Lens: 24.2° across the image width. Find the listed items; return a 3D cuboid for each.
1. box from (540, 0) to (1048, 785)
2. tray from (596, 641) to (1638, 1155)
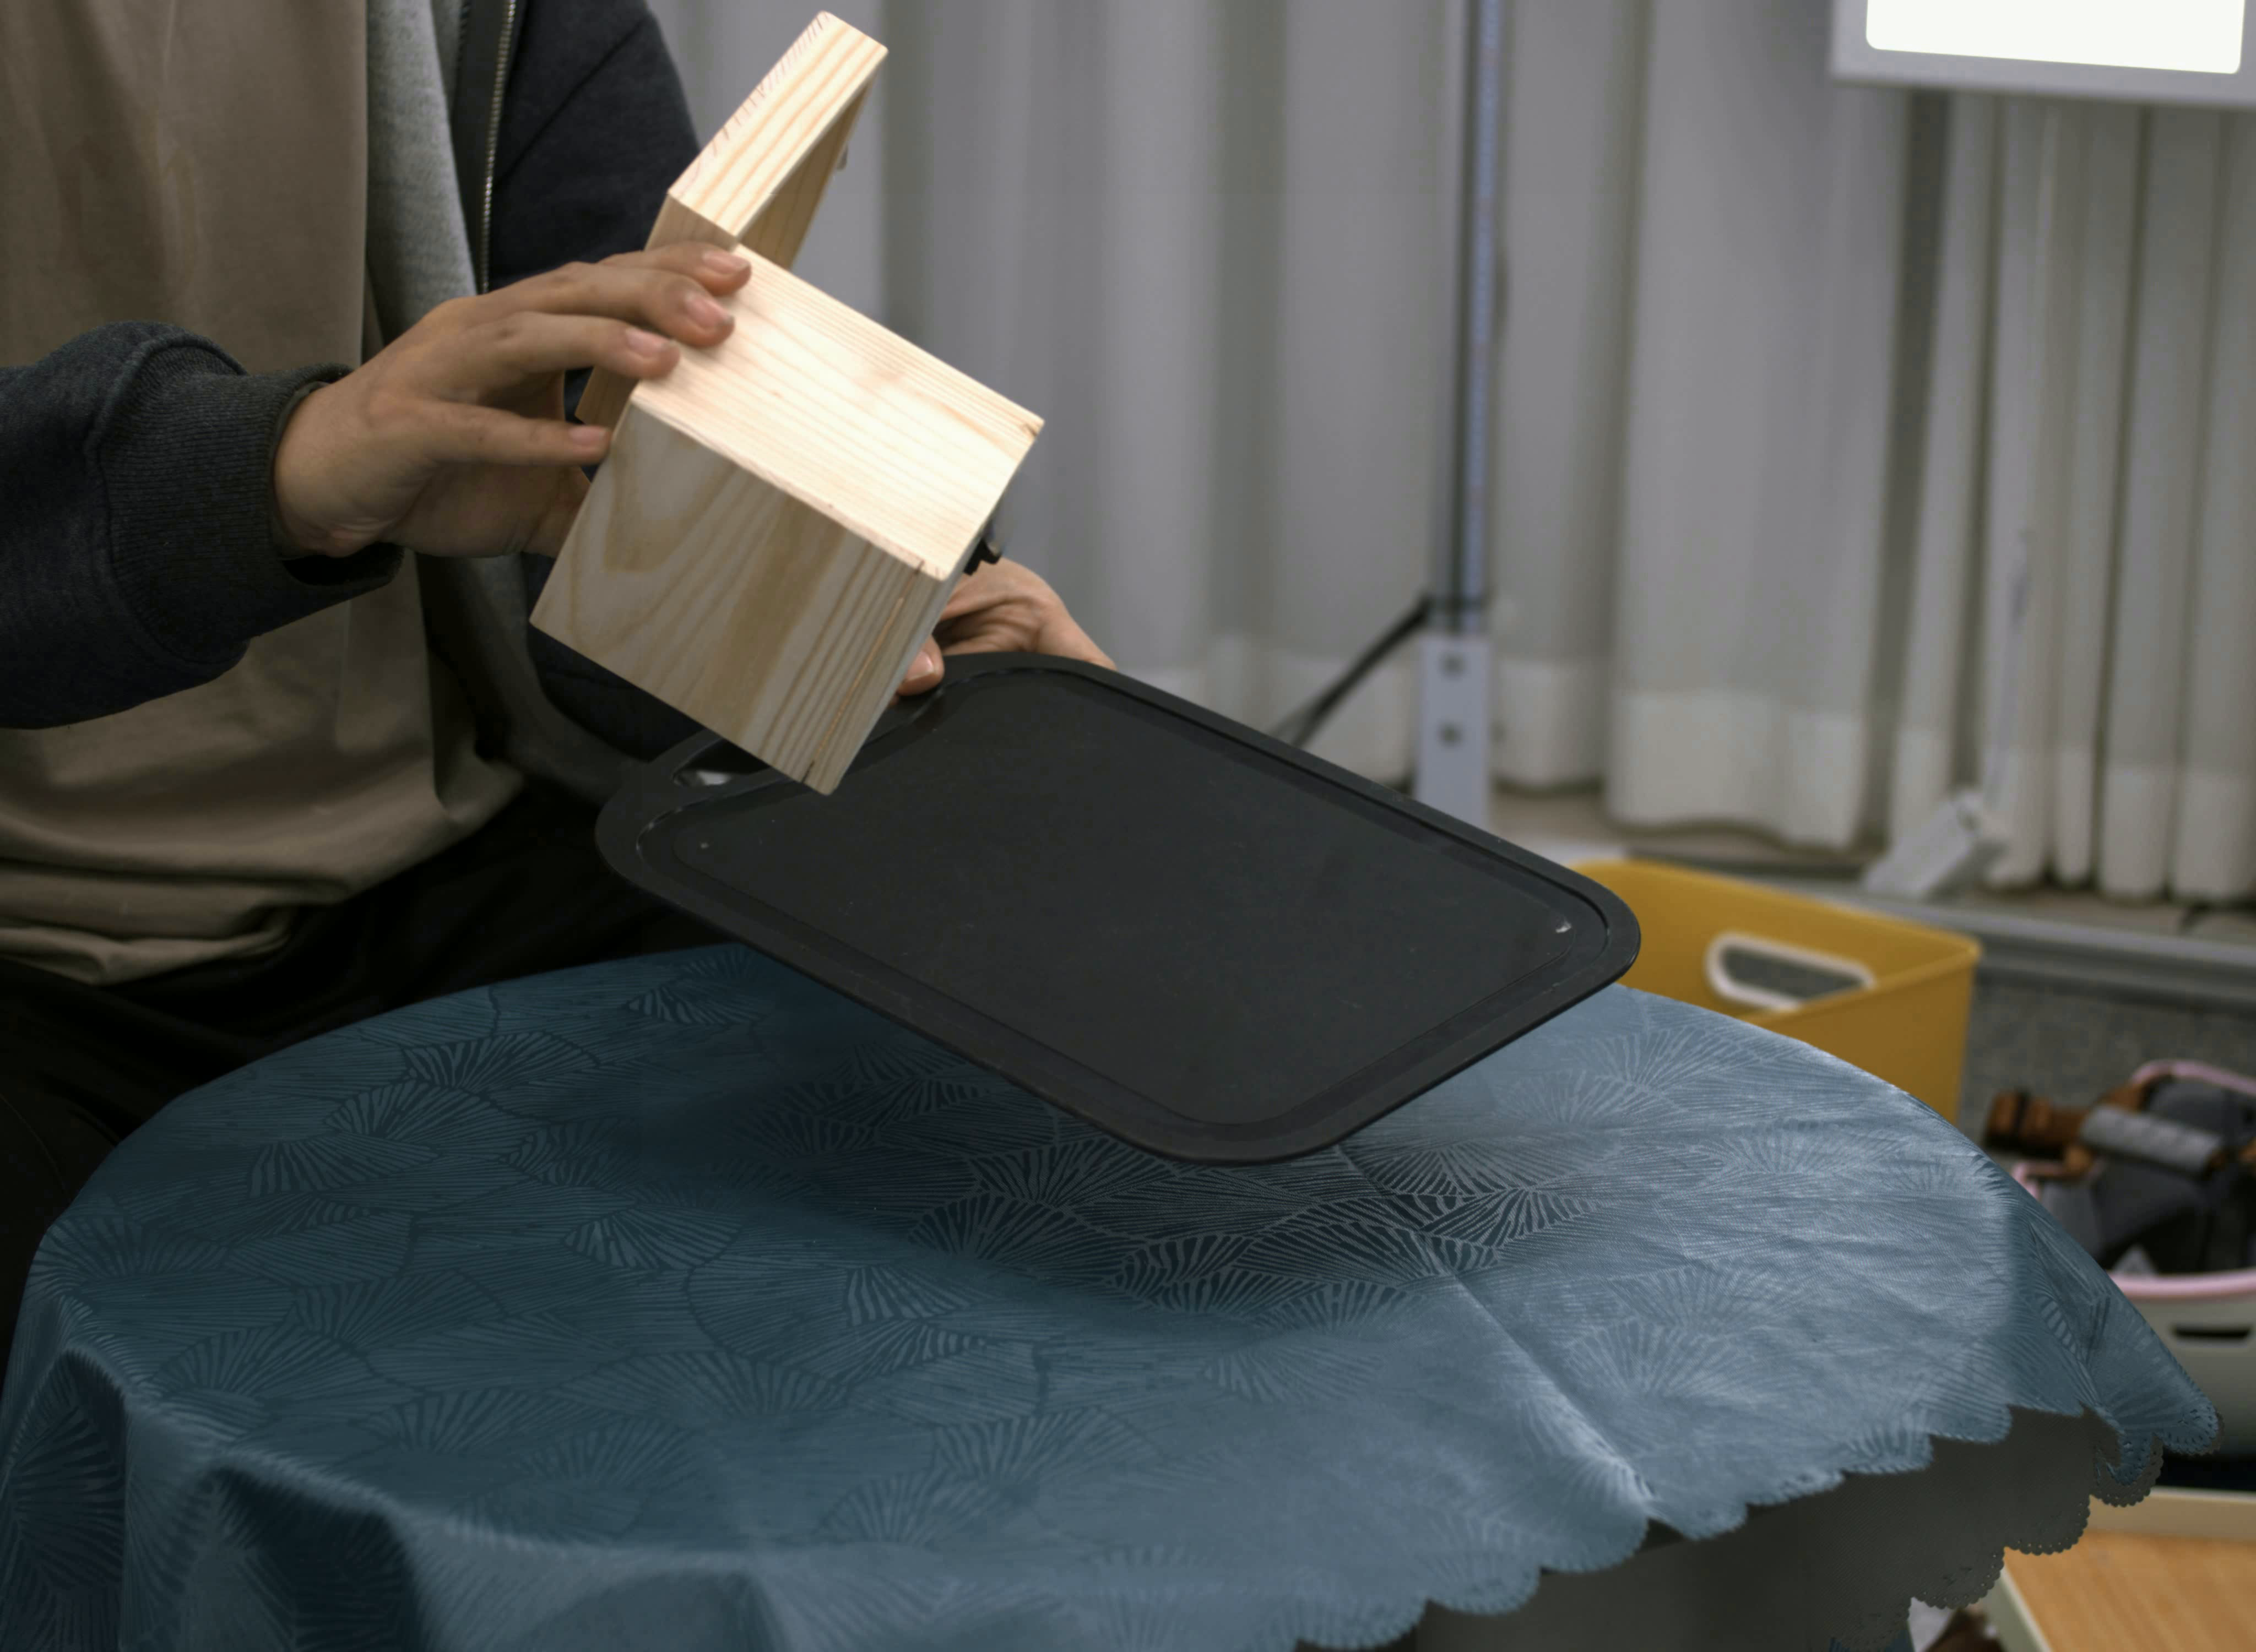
[{"bbox_3d":[-0.085,-0.129,1.526,0.134,0.103,0.184,29,49,-3],"label":"box"},{"bbox_3d":[-0.013,0.013,1.653,0.321,0.010,0.211,26,38,37],"label":"tray"}]
